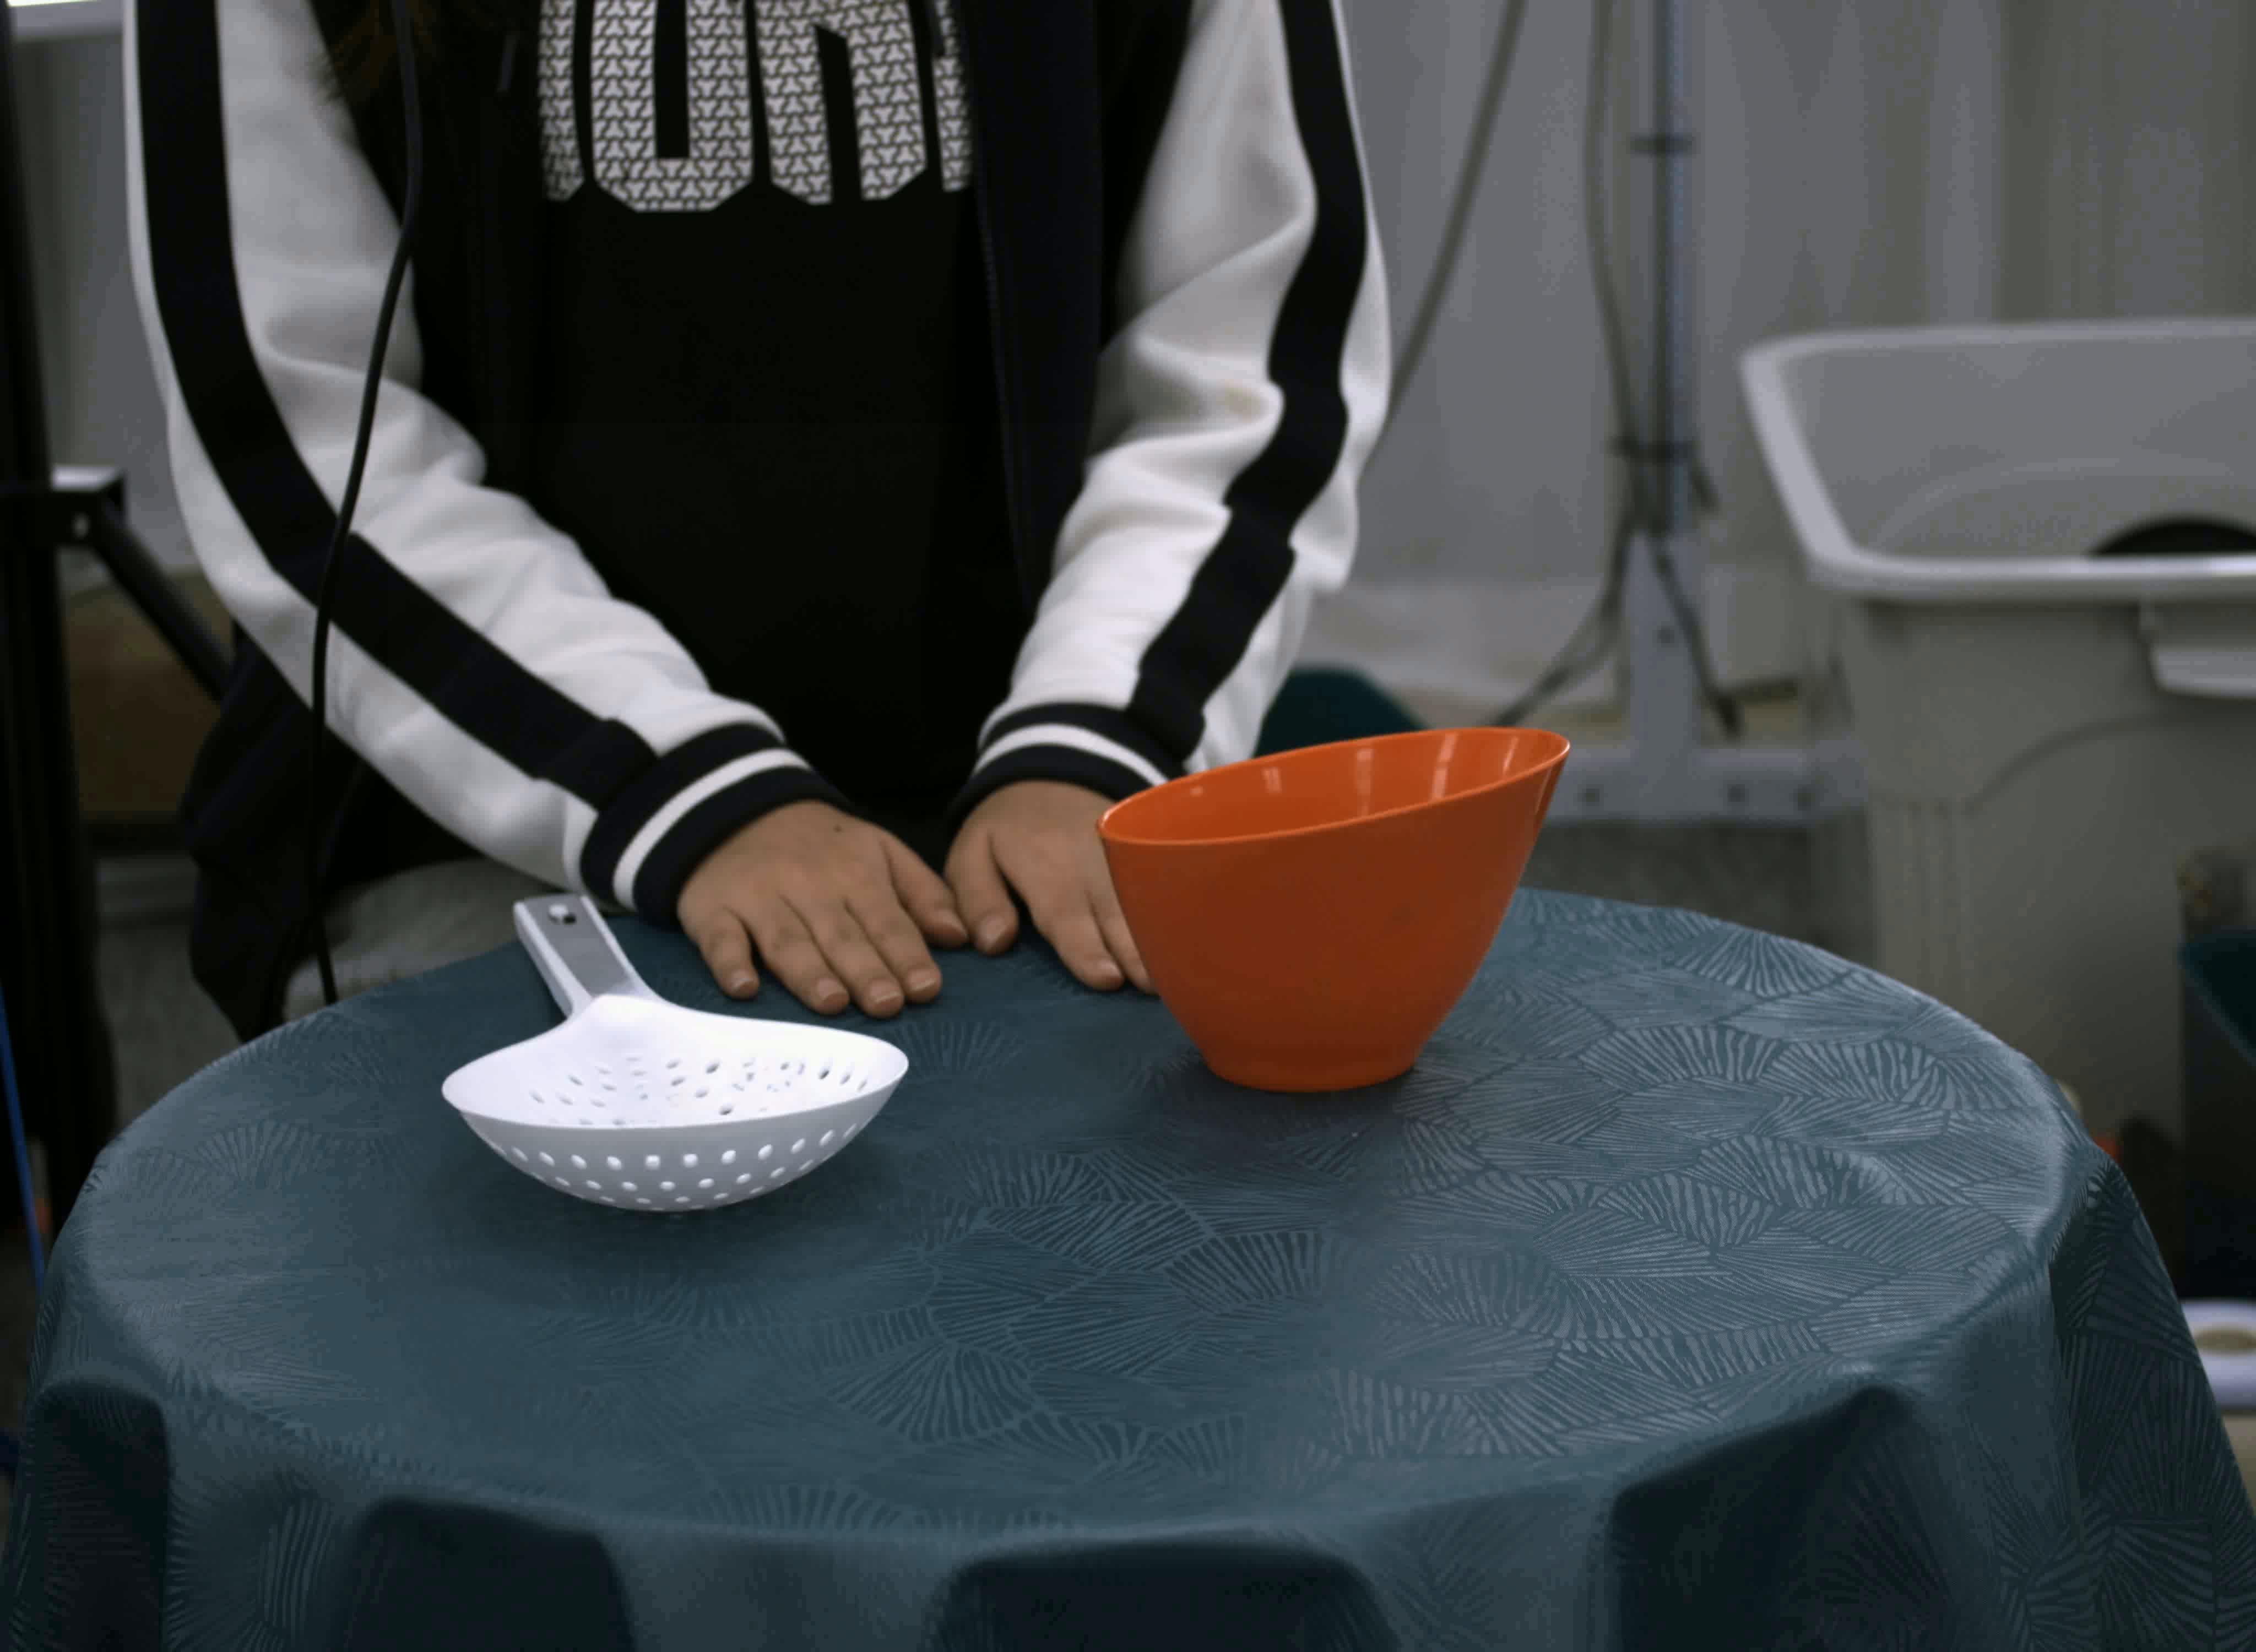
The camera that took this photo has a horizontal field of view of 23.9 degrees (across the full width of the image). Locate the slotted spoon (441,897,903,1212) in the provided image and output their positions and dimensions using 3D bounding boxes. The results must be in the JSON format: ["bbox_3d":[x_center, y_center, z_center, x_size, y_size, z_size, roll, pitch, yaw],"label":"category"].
[{"bbox_3d":[-0.158,0.062,1.666,0.134,0.046,0.354,-4,15,-12],"label":"slotted spoon"}]

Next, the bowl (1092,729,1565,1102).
[{"bbox_3d":[0.064,0.028,1.648,0.147,0.104,0.149,-4,16,0],"label":"bowl"}]
